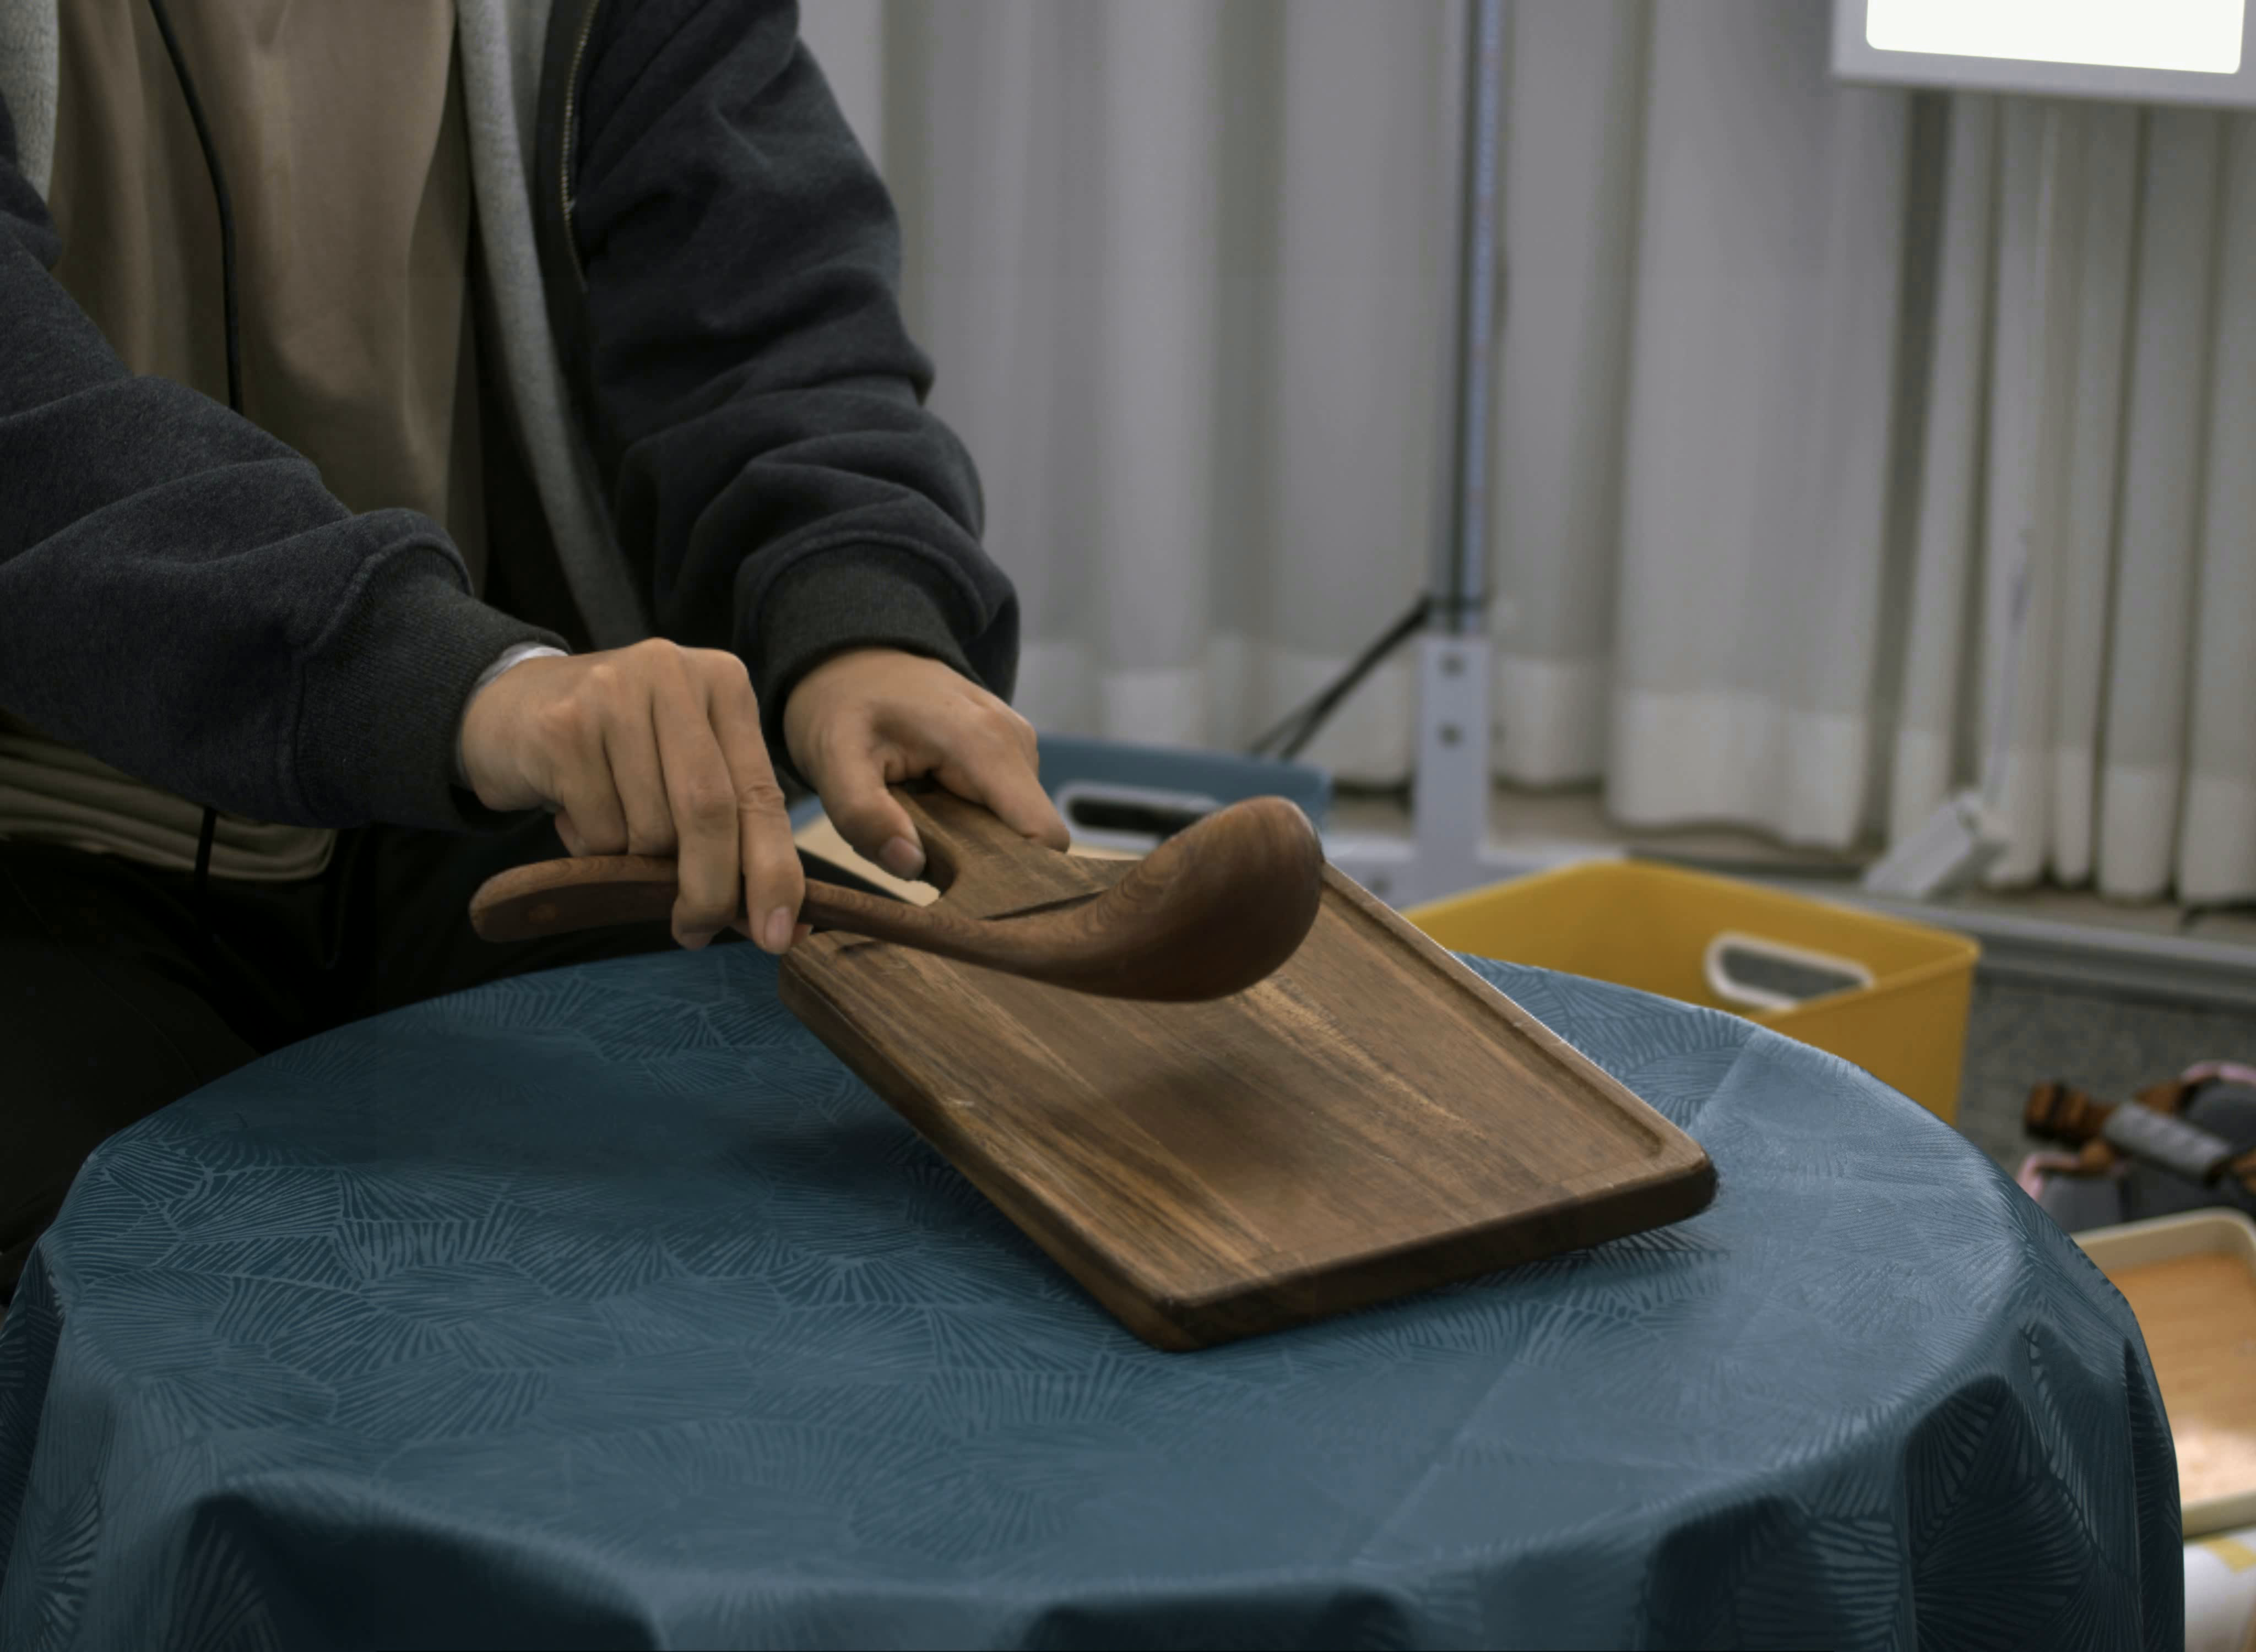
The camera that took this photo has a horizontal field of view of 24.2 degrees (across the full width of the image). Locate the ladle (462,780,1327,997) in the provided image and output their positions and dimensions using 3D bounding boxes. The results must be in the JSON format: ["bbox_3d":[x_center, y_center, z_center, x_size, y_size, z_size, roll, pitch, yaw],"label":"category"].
[{"bbox_3d":[-0.070,0.015,1.597,0.259,0.077,0.064,4,50,5],"label":"ladle"}]

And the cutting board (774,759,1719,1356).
[{"bbox_3d":[0.008,0.056,1.659,0.202,0.023,0.347,-11,30,-29],"label":"cutting board"}]
